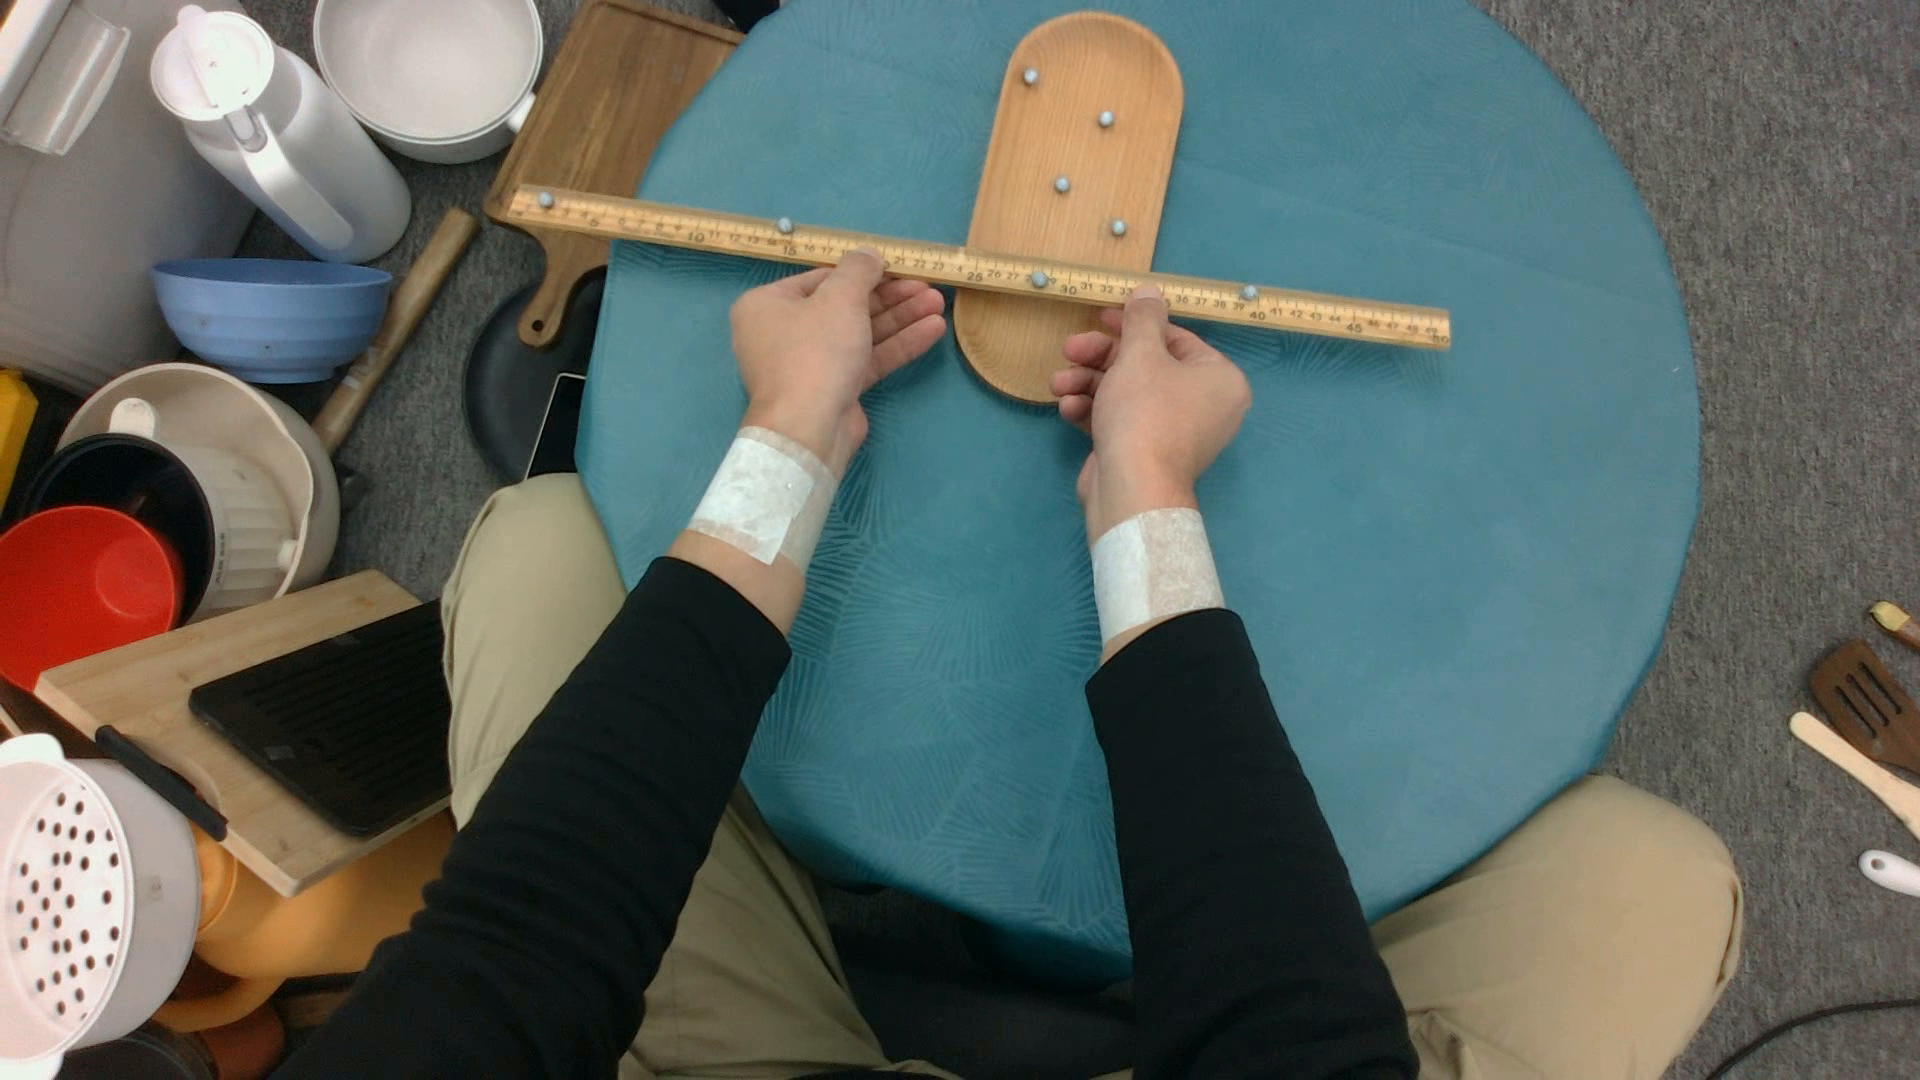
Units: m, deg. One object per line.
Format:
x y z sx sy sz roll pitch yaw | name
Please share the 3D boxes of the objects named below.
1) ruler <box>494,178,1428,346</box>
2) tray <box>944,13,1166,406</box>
0.000 -0.148 0.732 0.500 0.006 0.027 8 60 1 | ruler
0.053 -0.183 0.757 0.101 0.020 0.231 10 79 1 | tray
